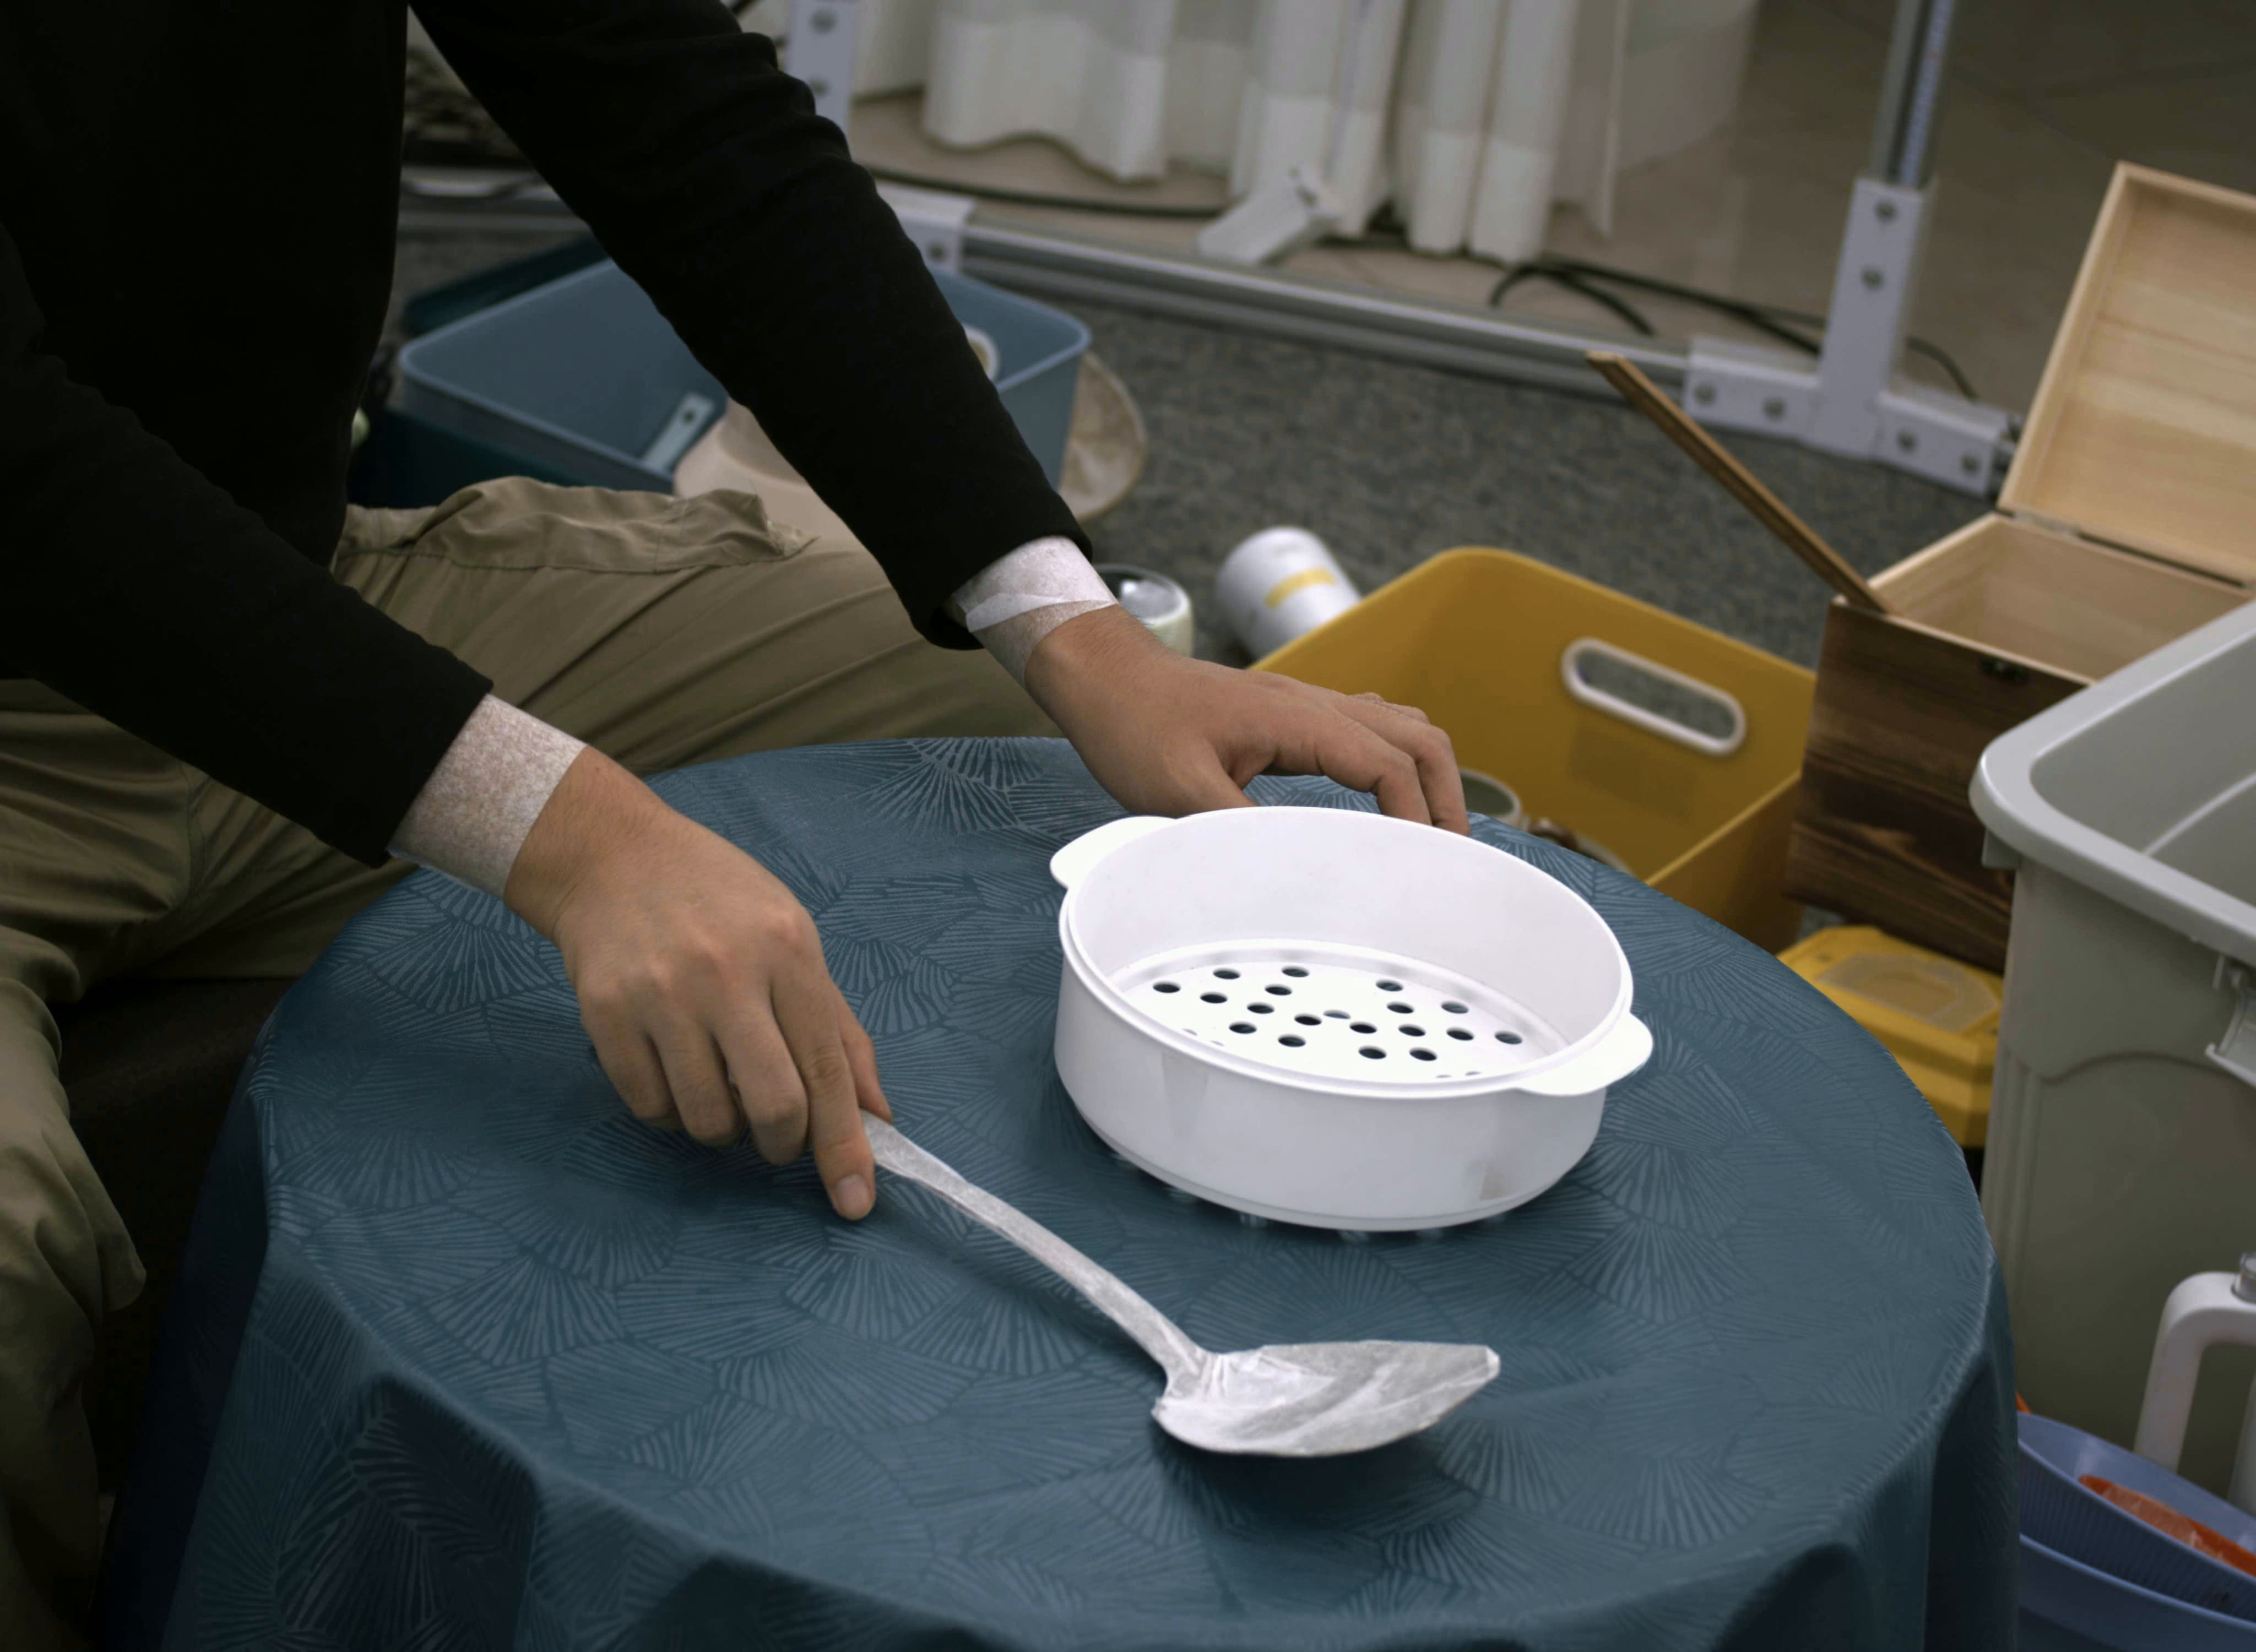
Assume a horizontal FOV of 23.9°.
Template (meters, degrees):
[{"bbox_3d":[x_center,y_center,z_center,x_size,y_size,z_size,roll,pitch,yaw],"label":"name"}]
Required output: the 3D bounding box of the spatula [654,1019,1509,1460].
[{"bbox_3d":[-0.036,0.126,1.742,0.367,0.044,0.098,29,36,35],"label":"spatula"}]

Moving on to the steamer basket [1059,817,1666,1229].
[{"bbox_3d":[0.076,0.069,1.850,0.232,0.069,0.201,22,30,31],"label":"steamer basket"}]
